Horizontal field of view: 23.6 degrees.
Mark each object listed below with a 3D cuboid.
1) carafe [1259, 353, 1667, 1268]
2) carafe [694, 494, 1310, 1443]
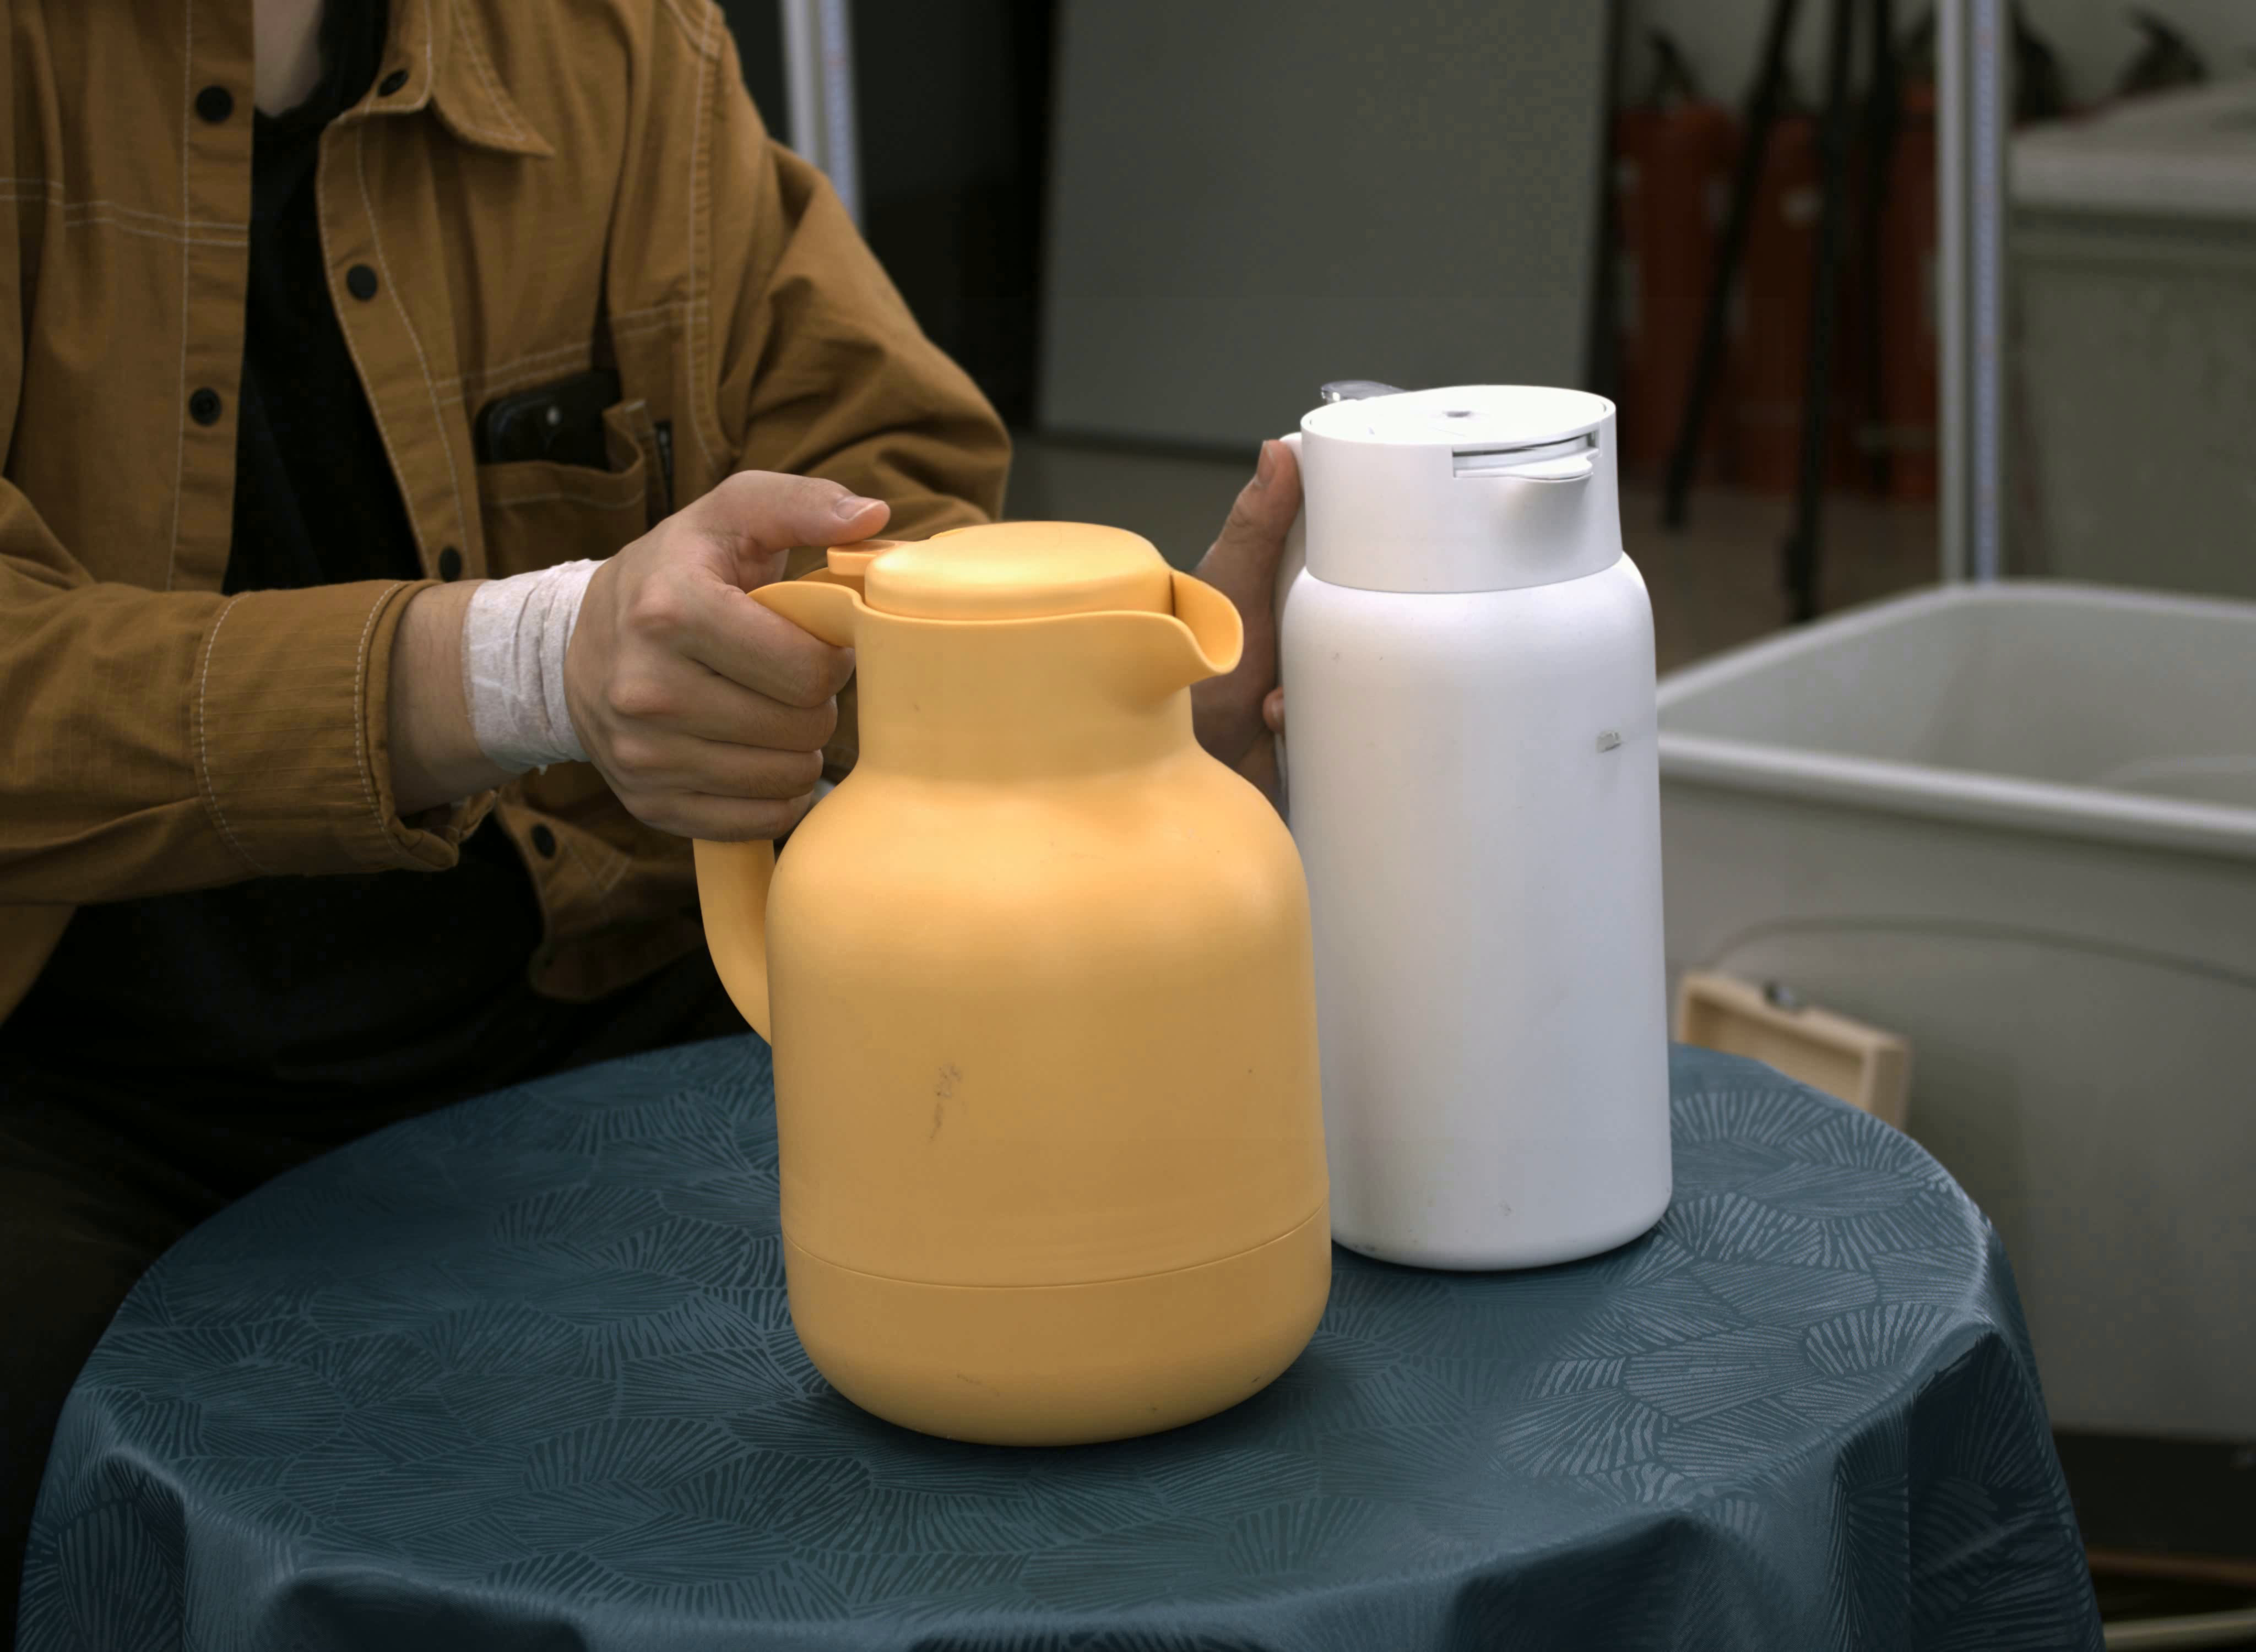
[{"bbox_3d":[0.098,-0.008,1.702,0.121,0.272,0.174,-13,16,-25],"label":"carafe"},{"bbox_3d":[-0.042,0.035,1.582,0.204,0.263,0.160,9,15,39],"label":"carafe"}]
